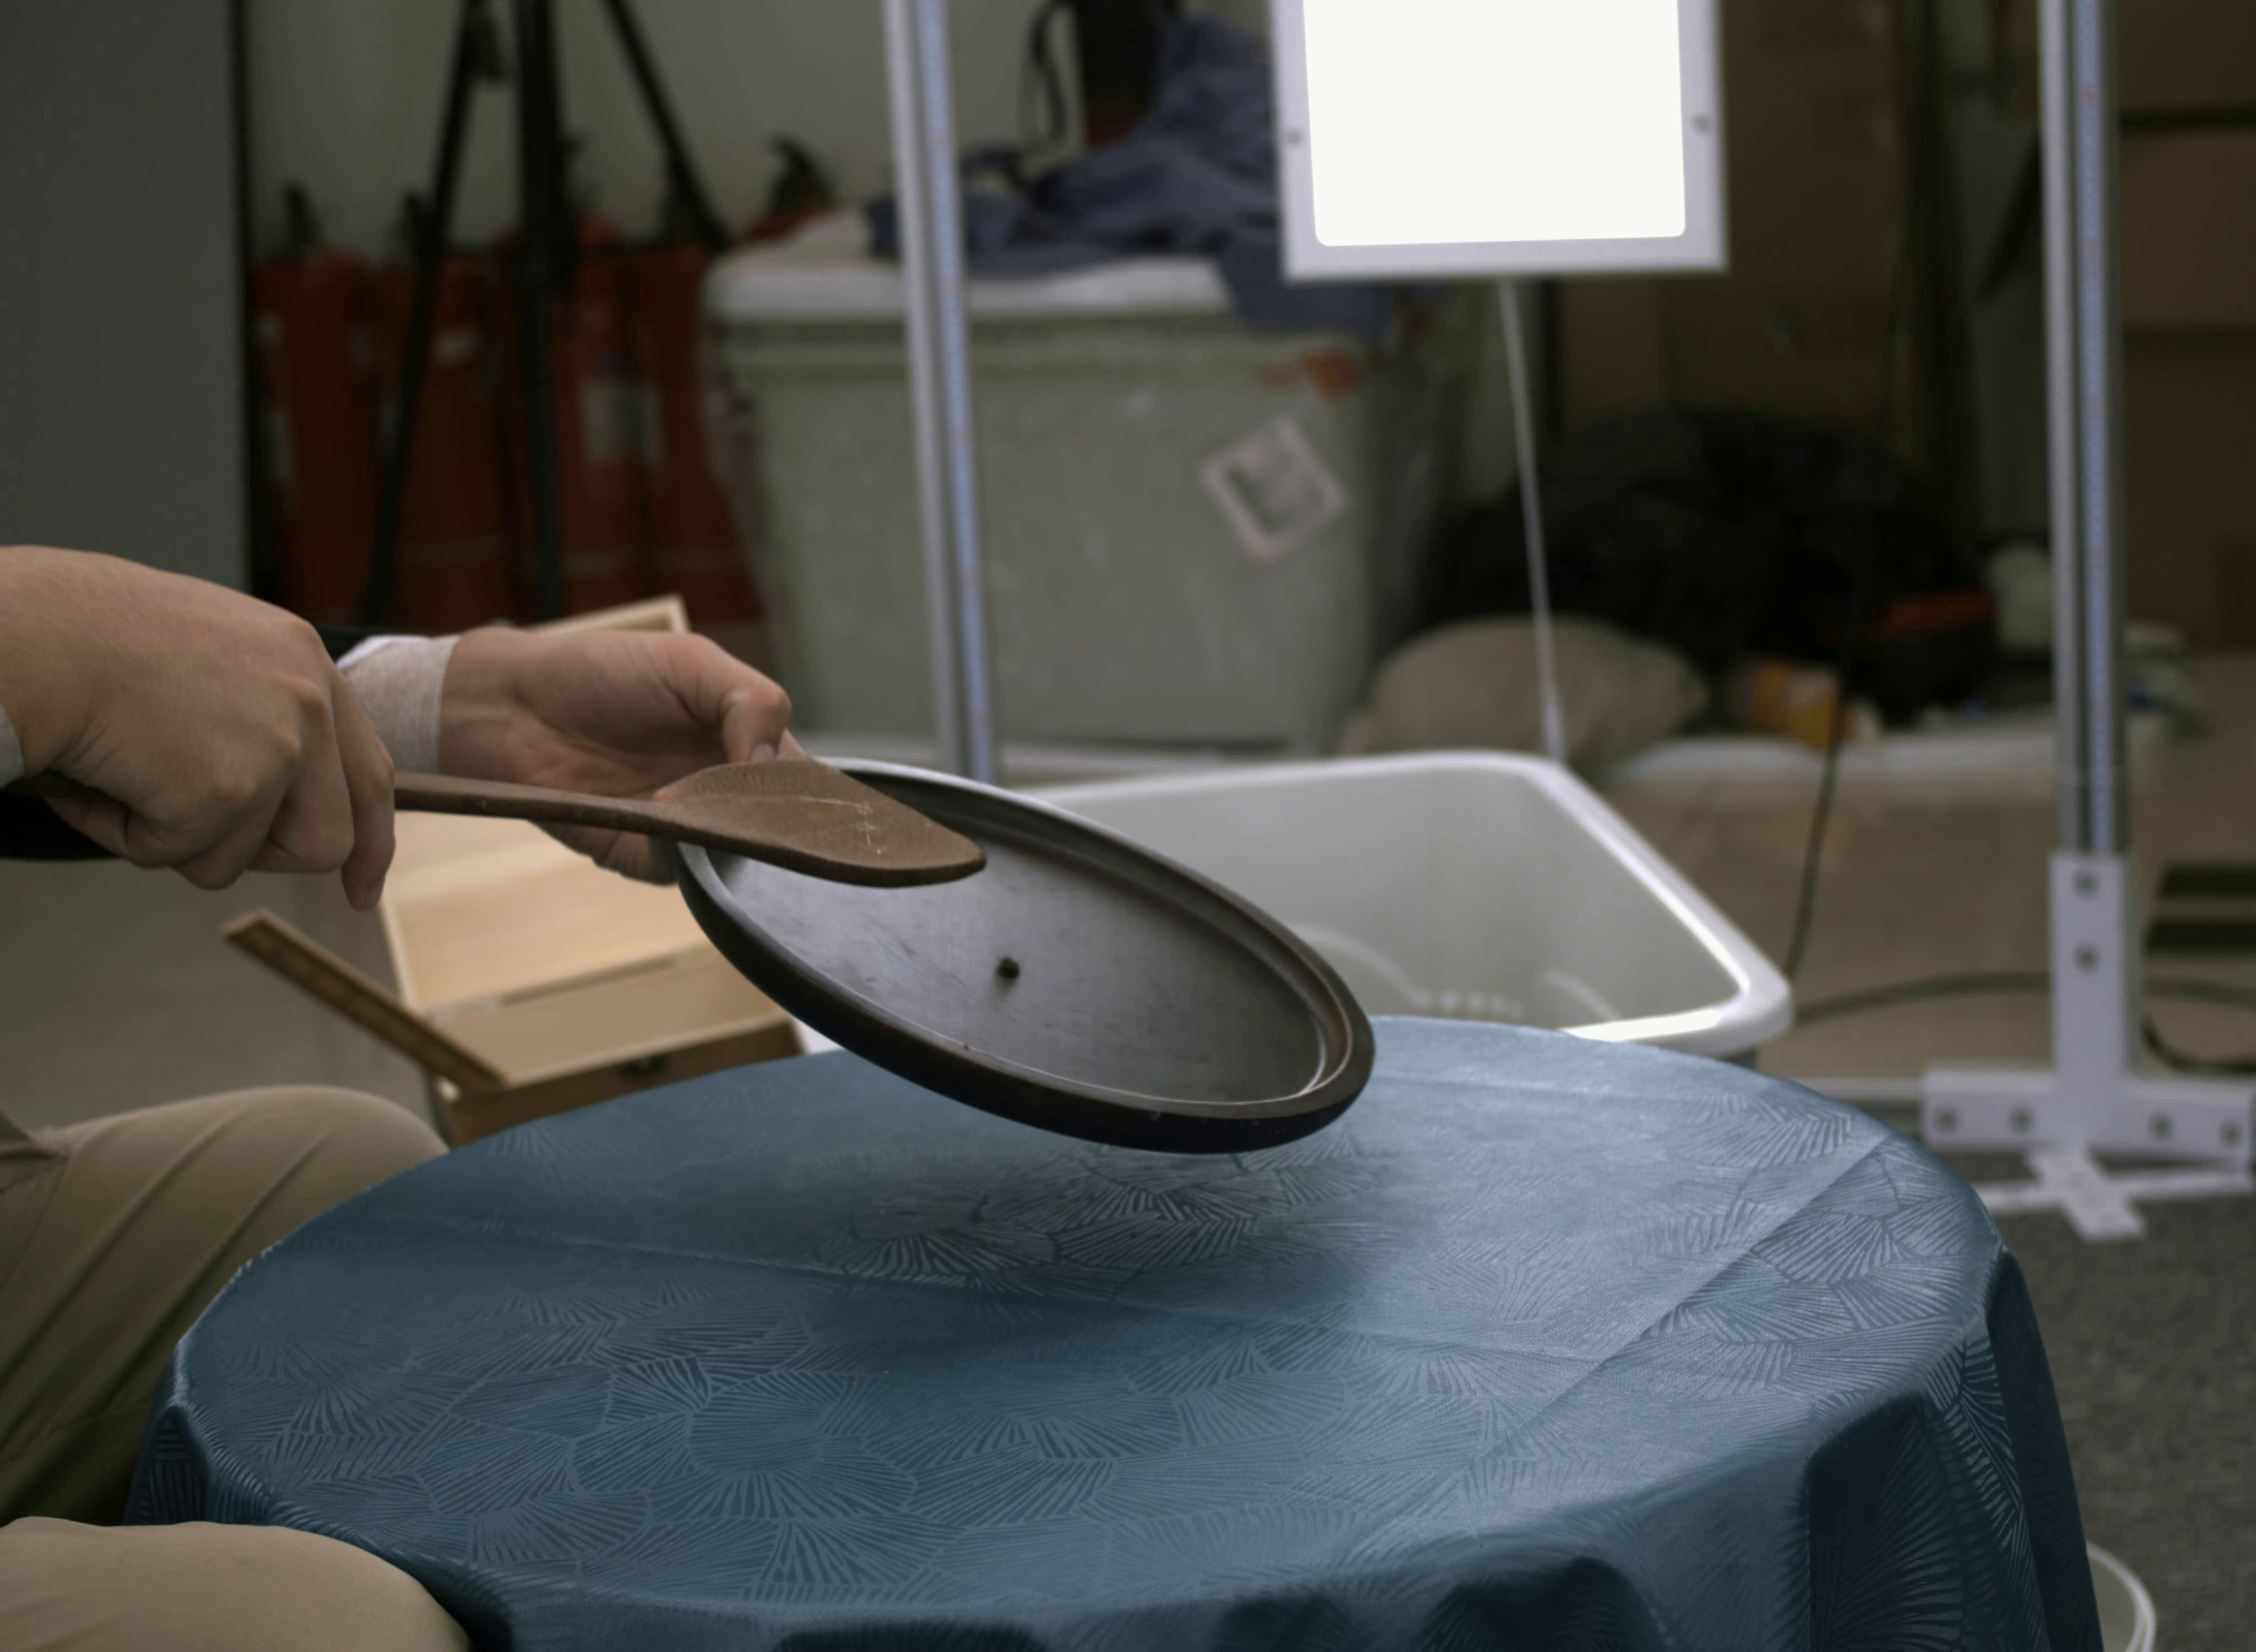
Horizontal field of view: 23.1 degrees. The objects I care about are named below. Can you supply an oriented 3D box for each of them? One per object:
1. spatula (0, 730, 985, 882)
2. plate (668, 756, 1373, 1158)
[{"bbox_3d":[-0.194,-0.010,1.698,0.098,0.016,0.376,29,16,39],"label":"spatula"},{"bbox_3d":[-0.037,0.043,1.867,0.252,0.029,0.254,18,21,-9],"label":"plate"}]
